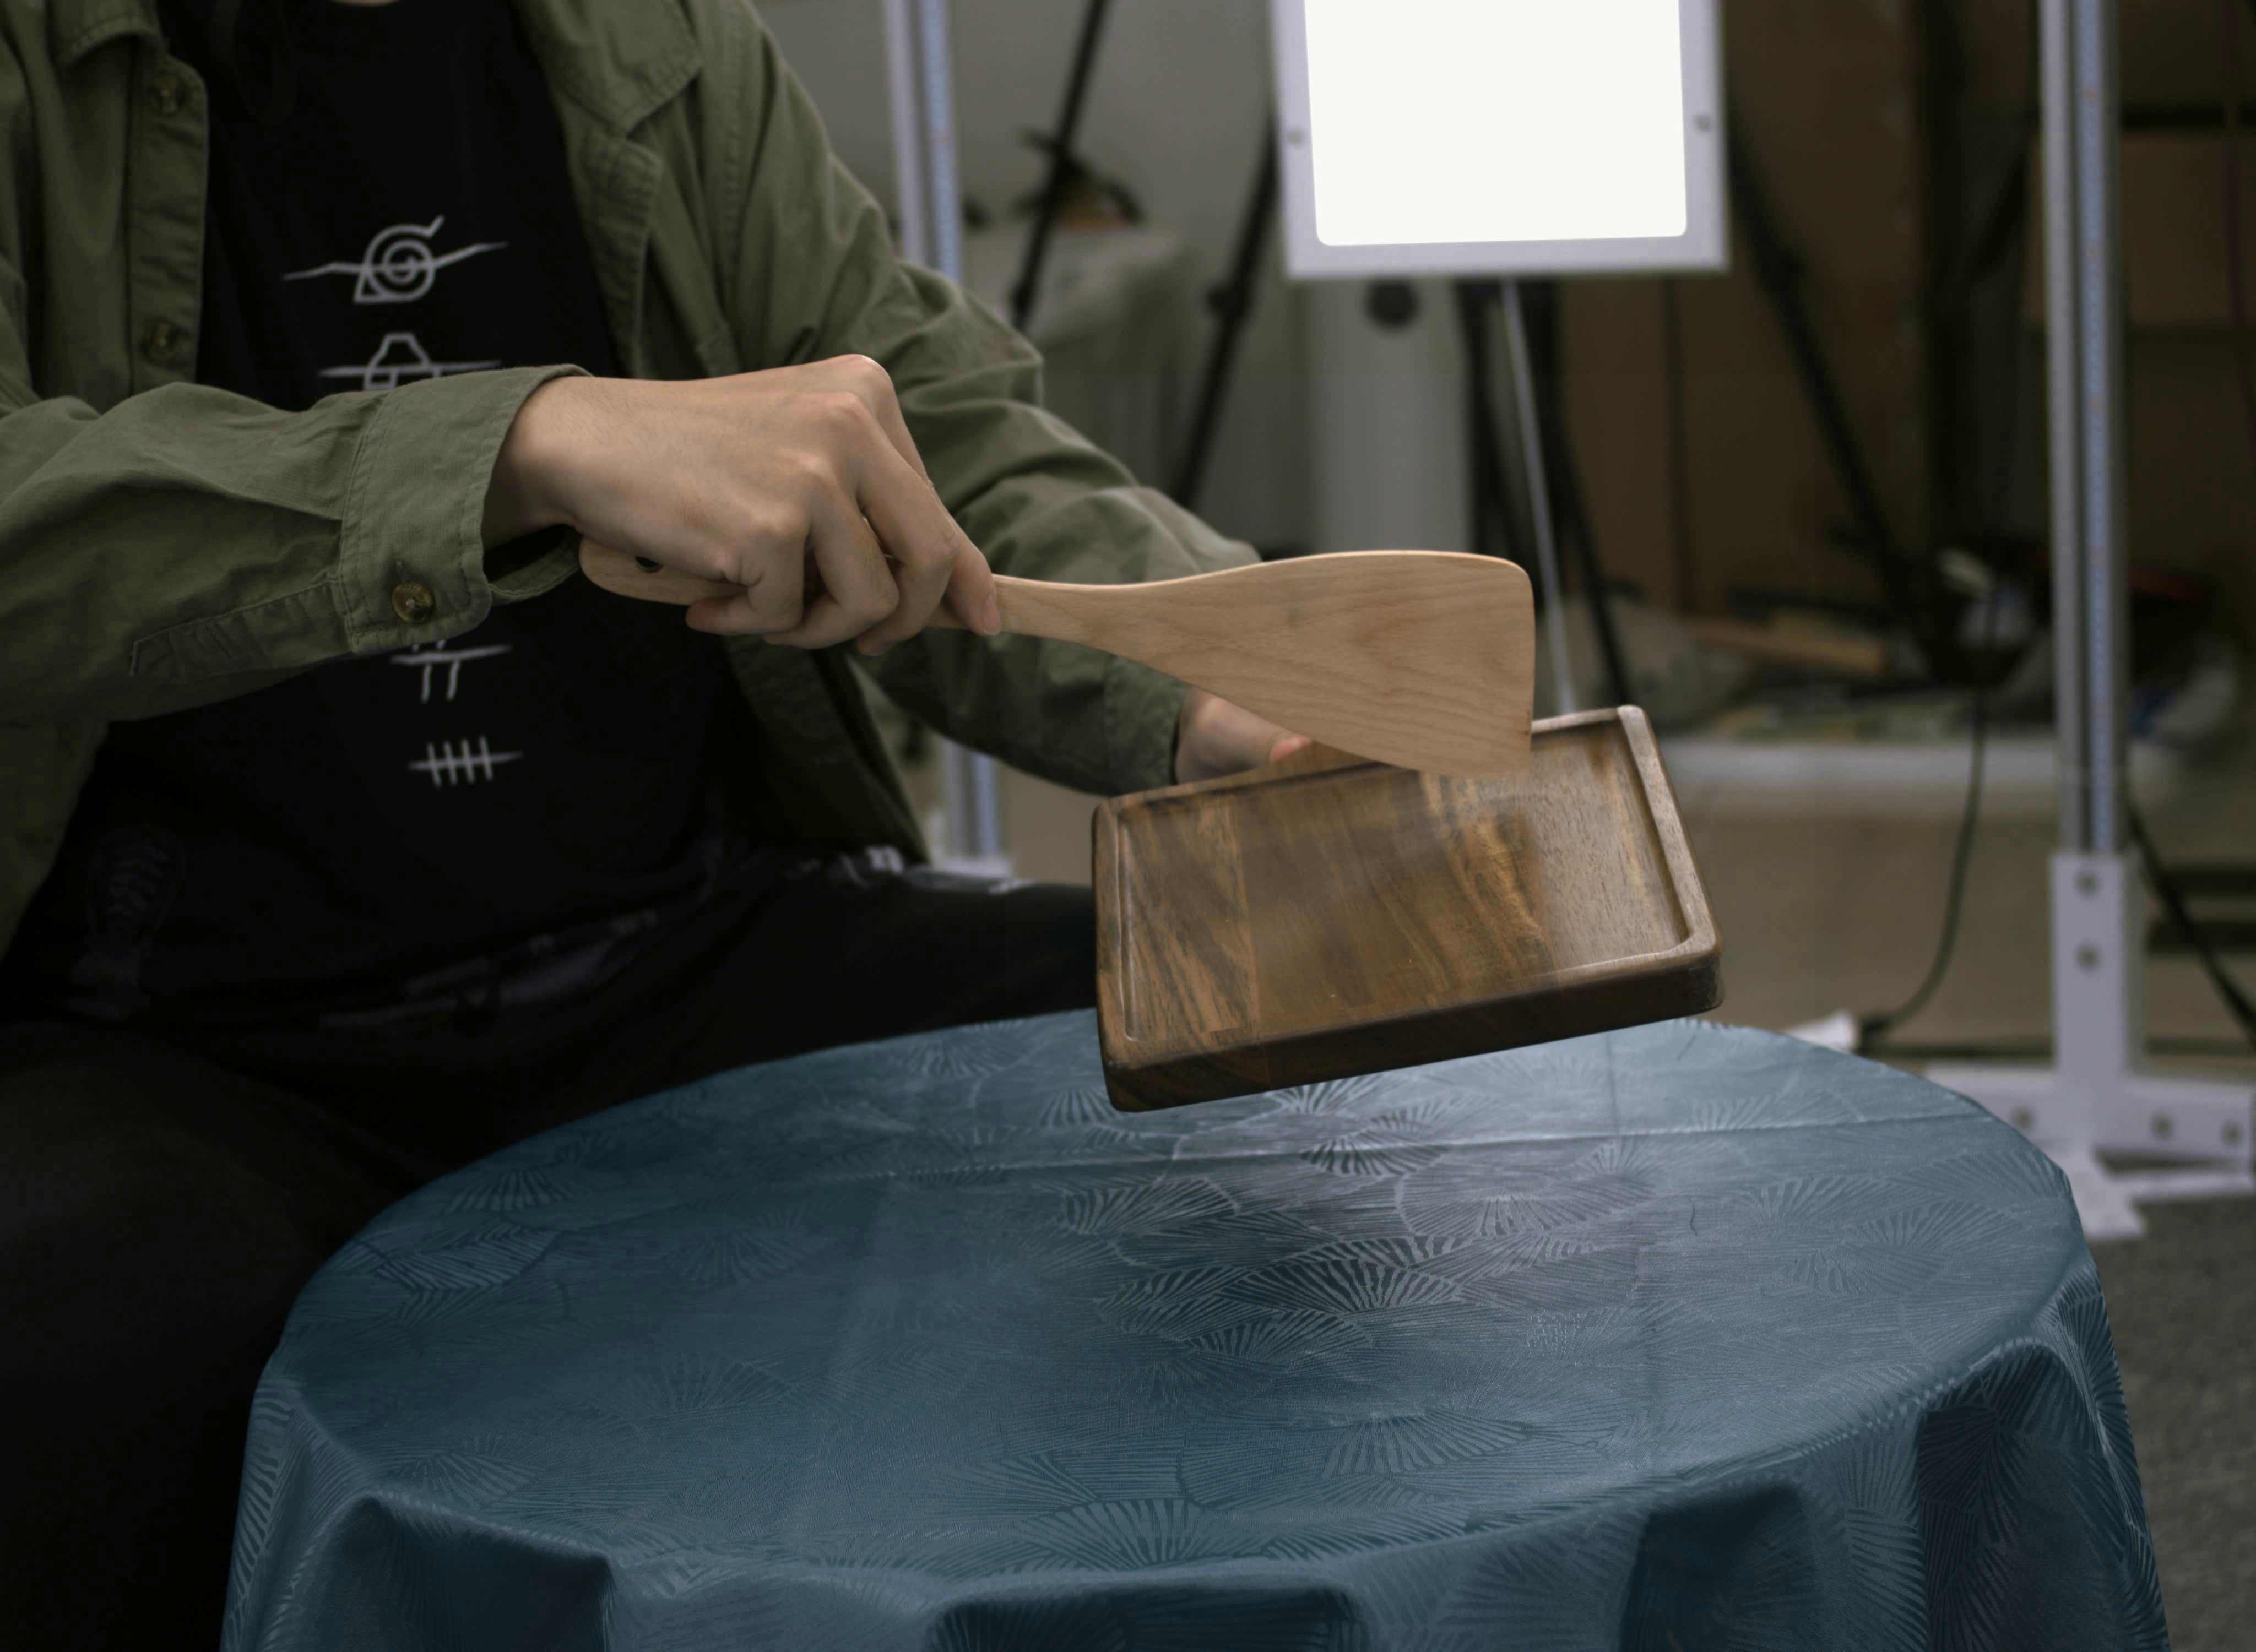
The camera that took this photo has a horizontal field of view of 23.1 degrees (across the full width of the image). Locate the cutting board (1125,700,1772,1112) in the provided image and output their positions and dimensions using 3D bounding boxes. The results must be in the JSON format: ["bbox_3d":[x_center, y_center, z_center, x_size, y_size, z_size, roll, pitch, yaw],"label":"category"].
[{"bbox_3d":[0.099,0.005,1.839,0.201,0.023,0.351,-11,19,5],"label":"cutting board"}]

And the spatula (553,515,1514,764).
[{"bbox_3d":[-0.026,-0.073,1.814,0.324,0.080,0.016,6,22,-9],"label":"spatula"}]
